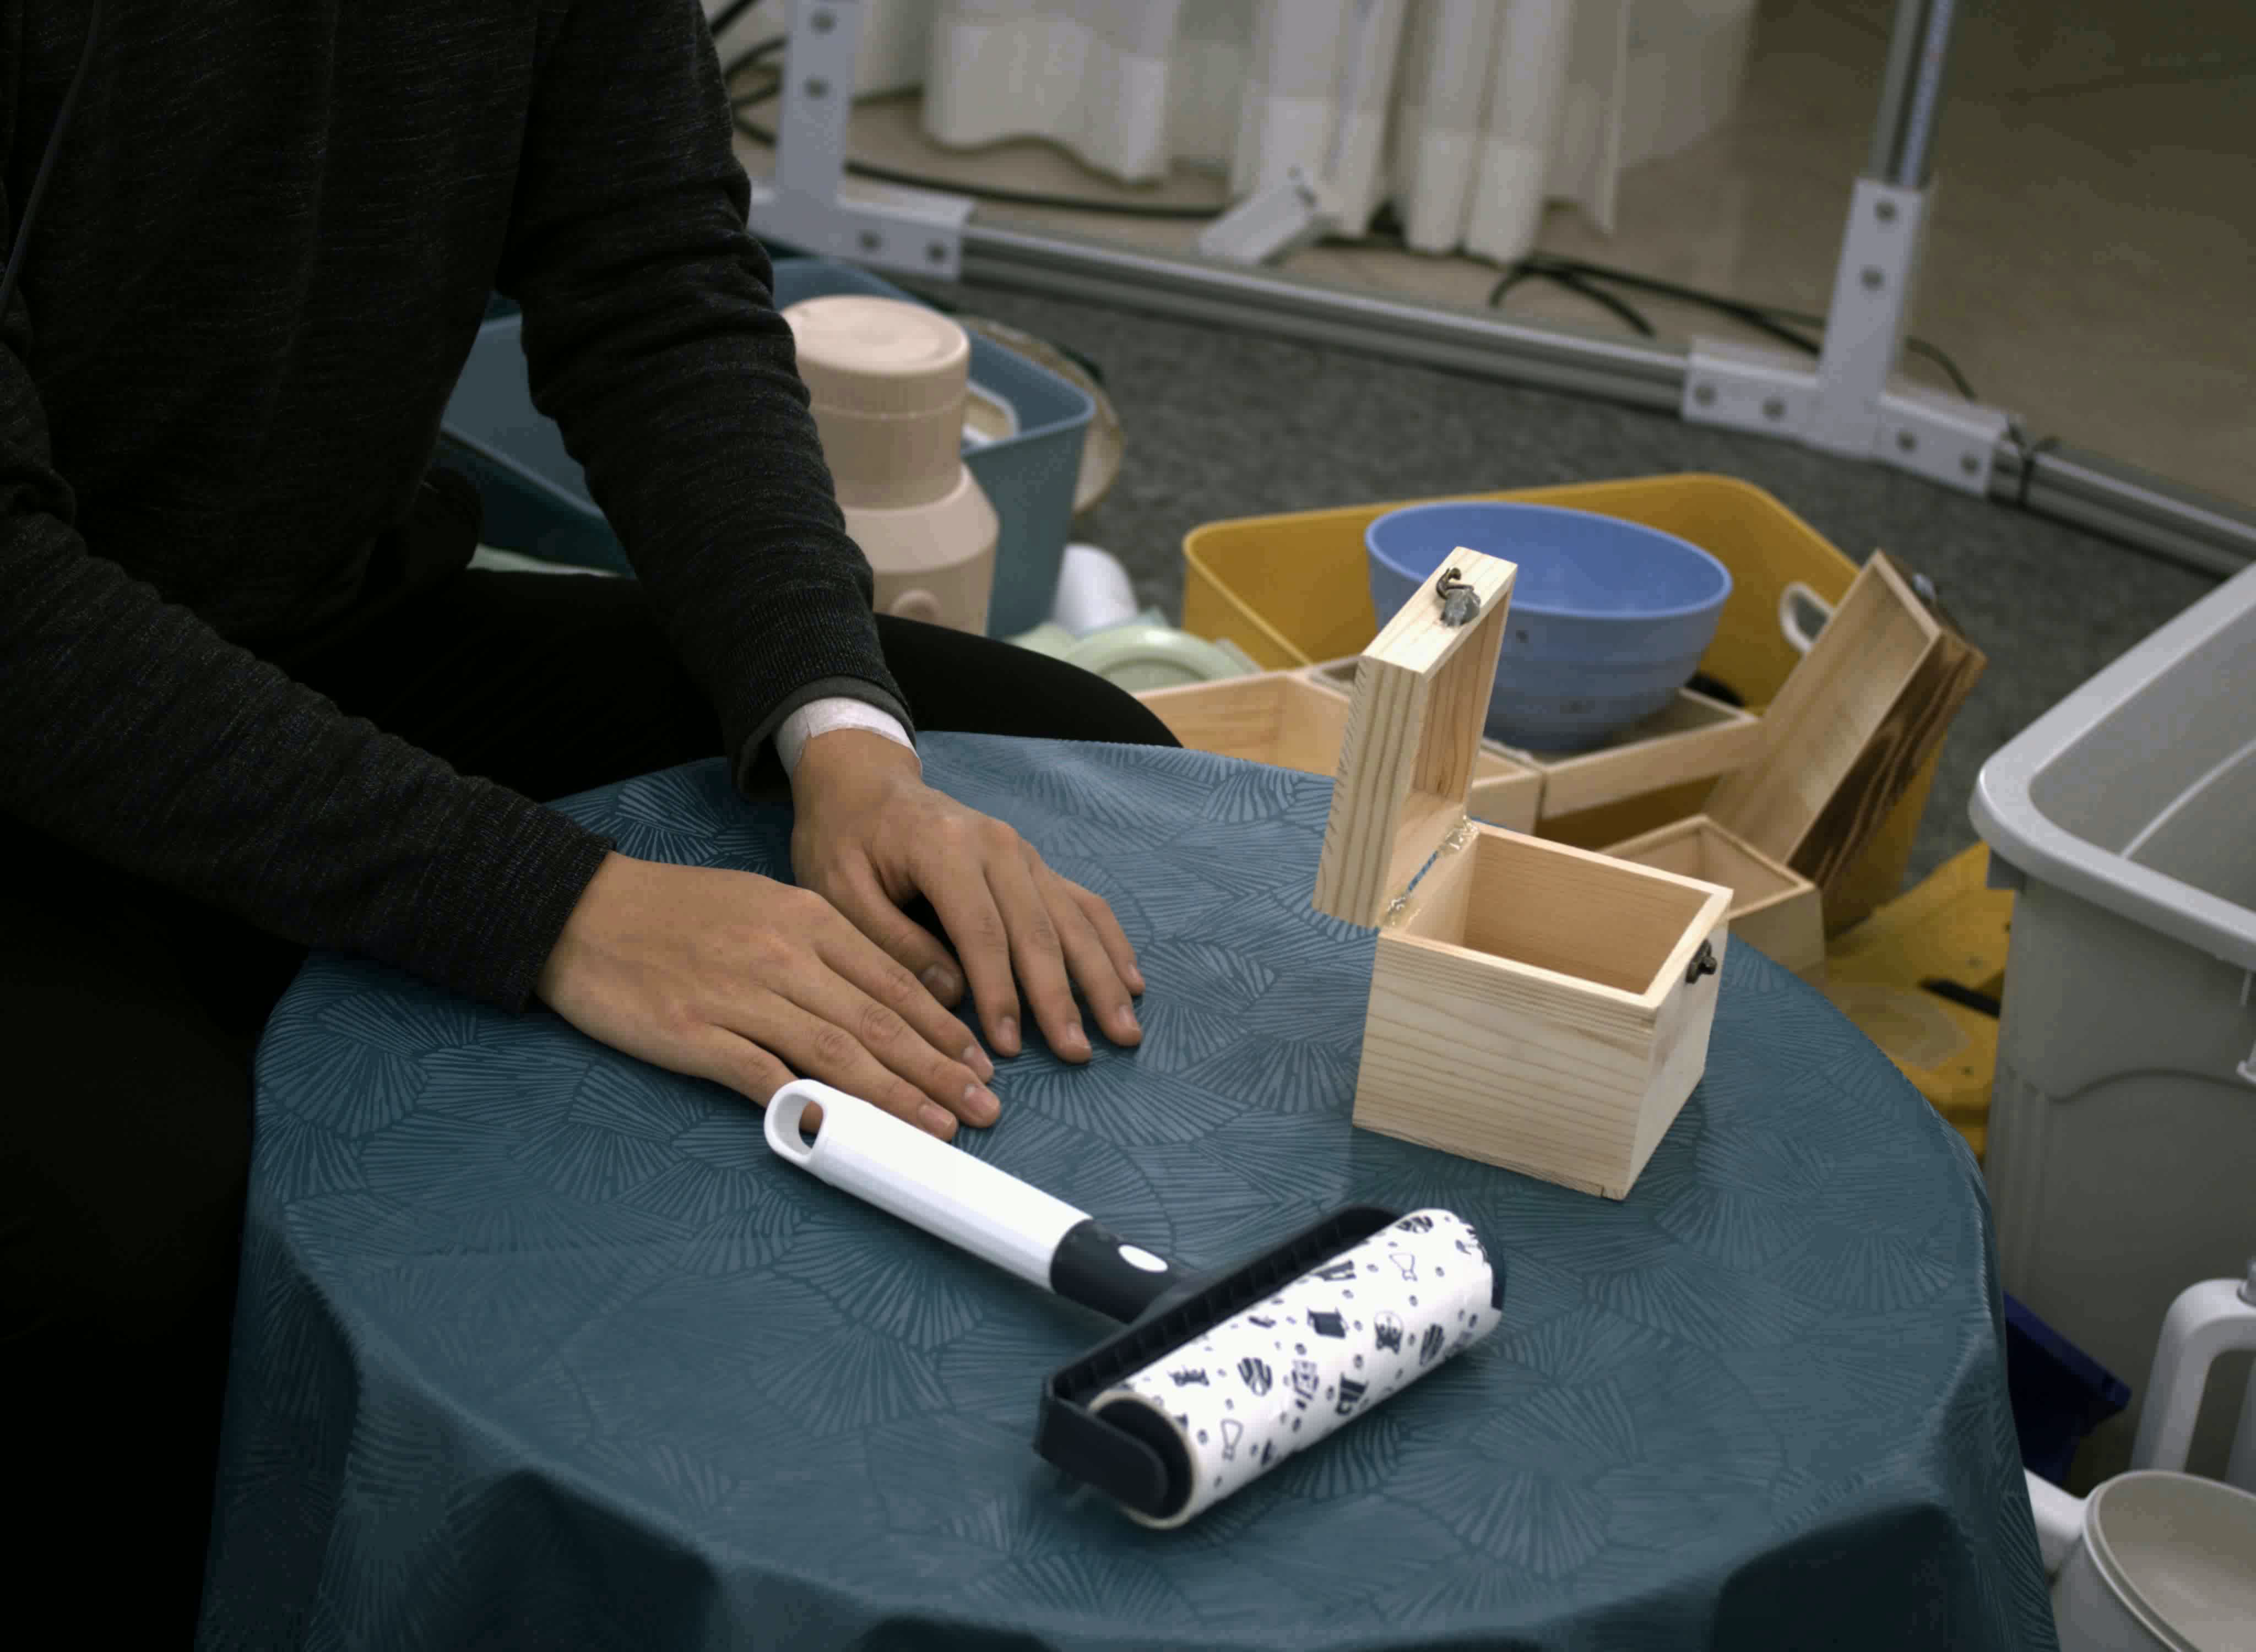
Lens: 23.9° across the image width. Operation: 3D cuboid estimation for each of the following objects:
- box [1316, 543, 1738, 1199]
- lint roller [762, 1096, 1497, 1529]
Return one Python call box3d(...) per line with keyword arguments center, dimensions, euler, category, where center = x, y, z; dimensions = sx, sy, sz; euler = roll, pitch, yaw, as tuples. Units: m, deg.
box3d(center=(0.144, 0.014, 1.846), dimensions=(0.134, 0.184, 0.102), euler=(15, 28, 17), category="box")
box3d(center=(-0.025, 0.135, 1.728), dimensions=(0.248, 0.050, 0.175), euler=(24, 33, 33), category="lint roller")
